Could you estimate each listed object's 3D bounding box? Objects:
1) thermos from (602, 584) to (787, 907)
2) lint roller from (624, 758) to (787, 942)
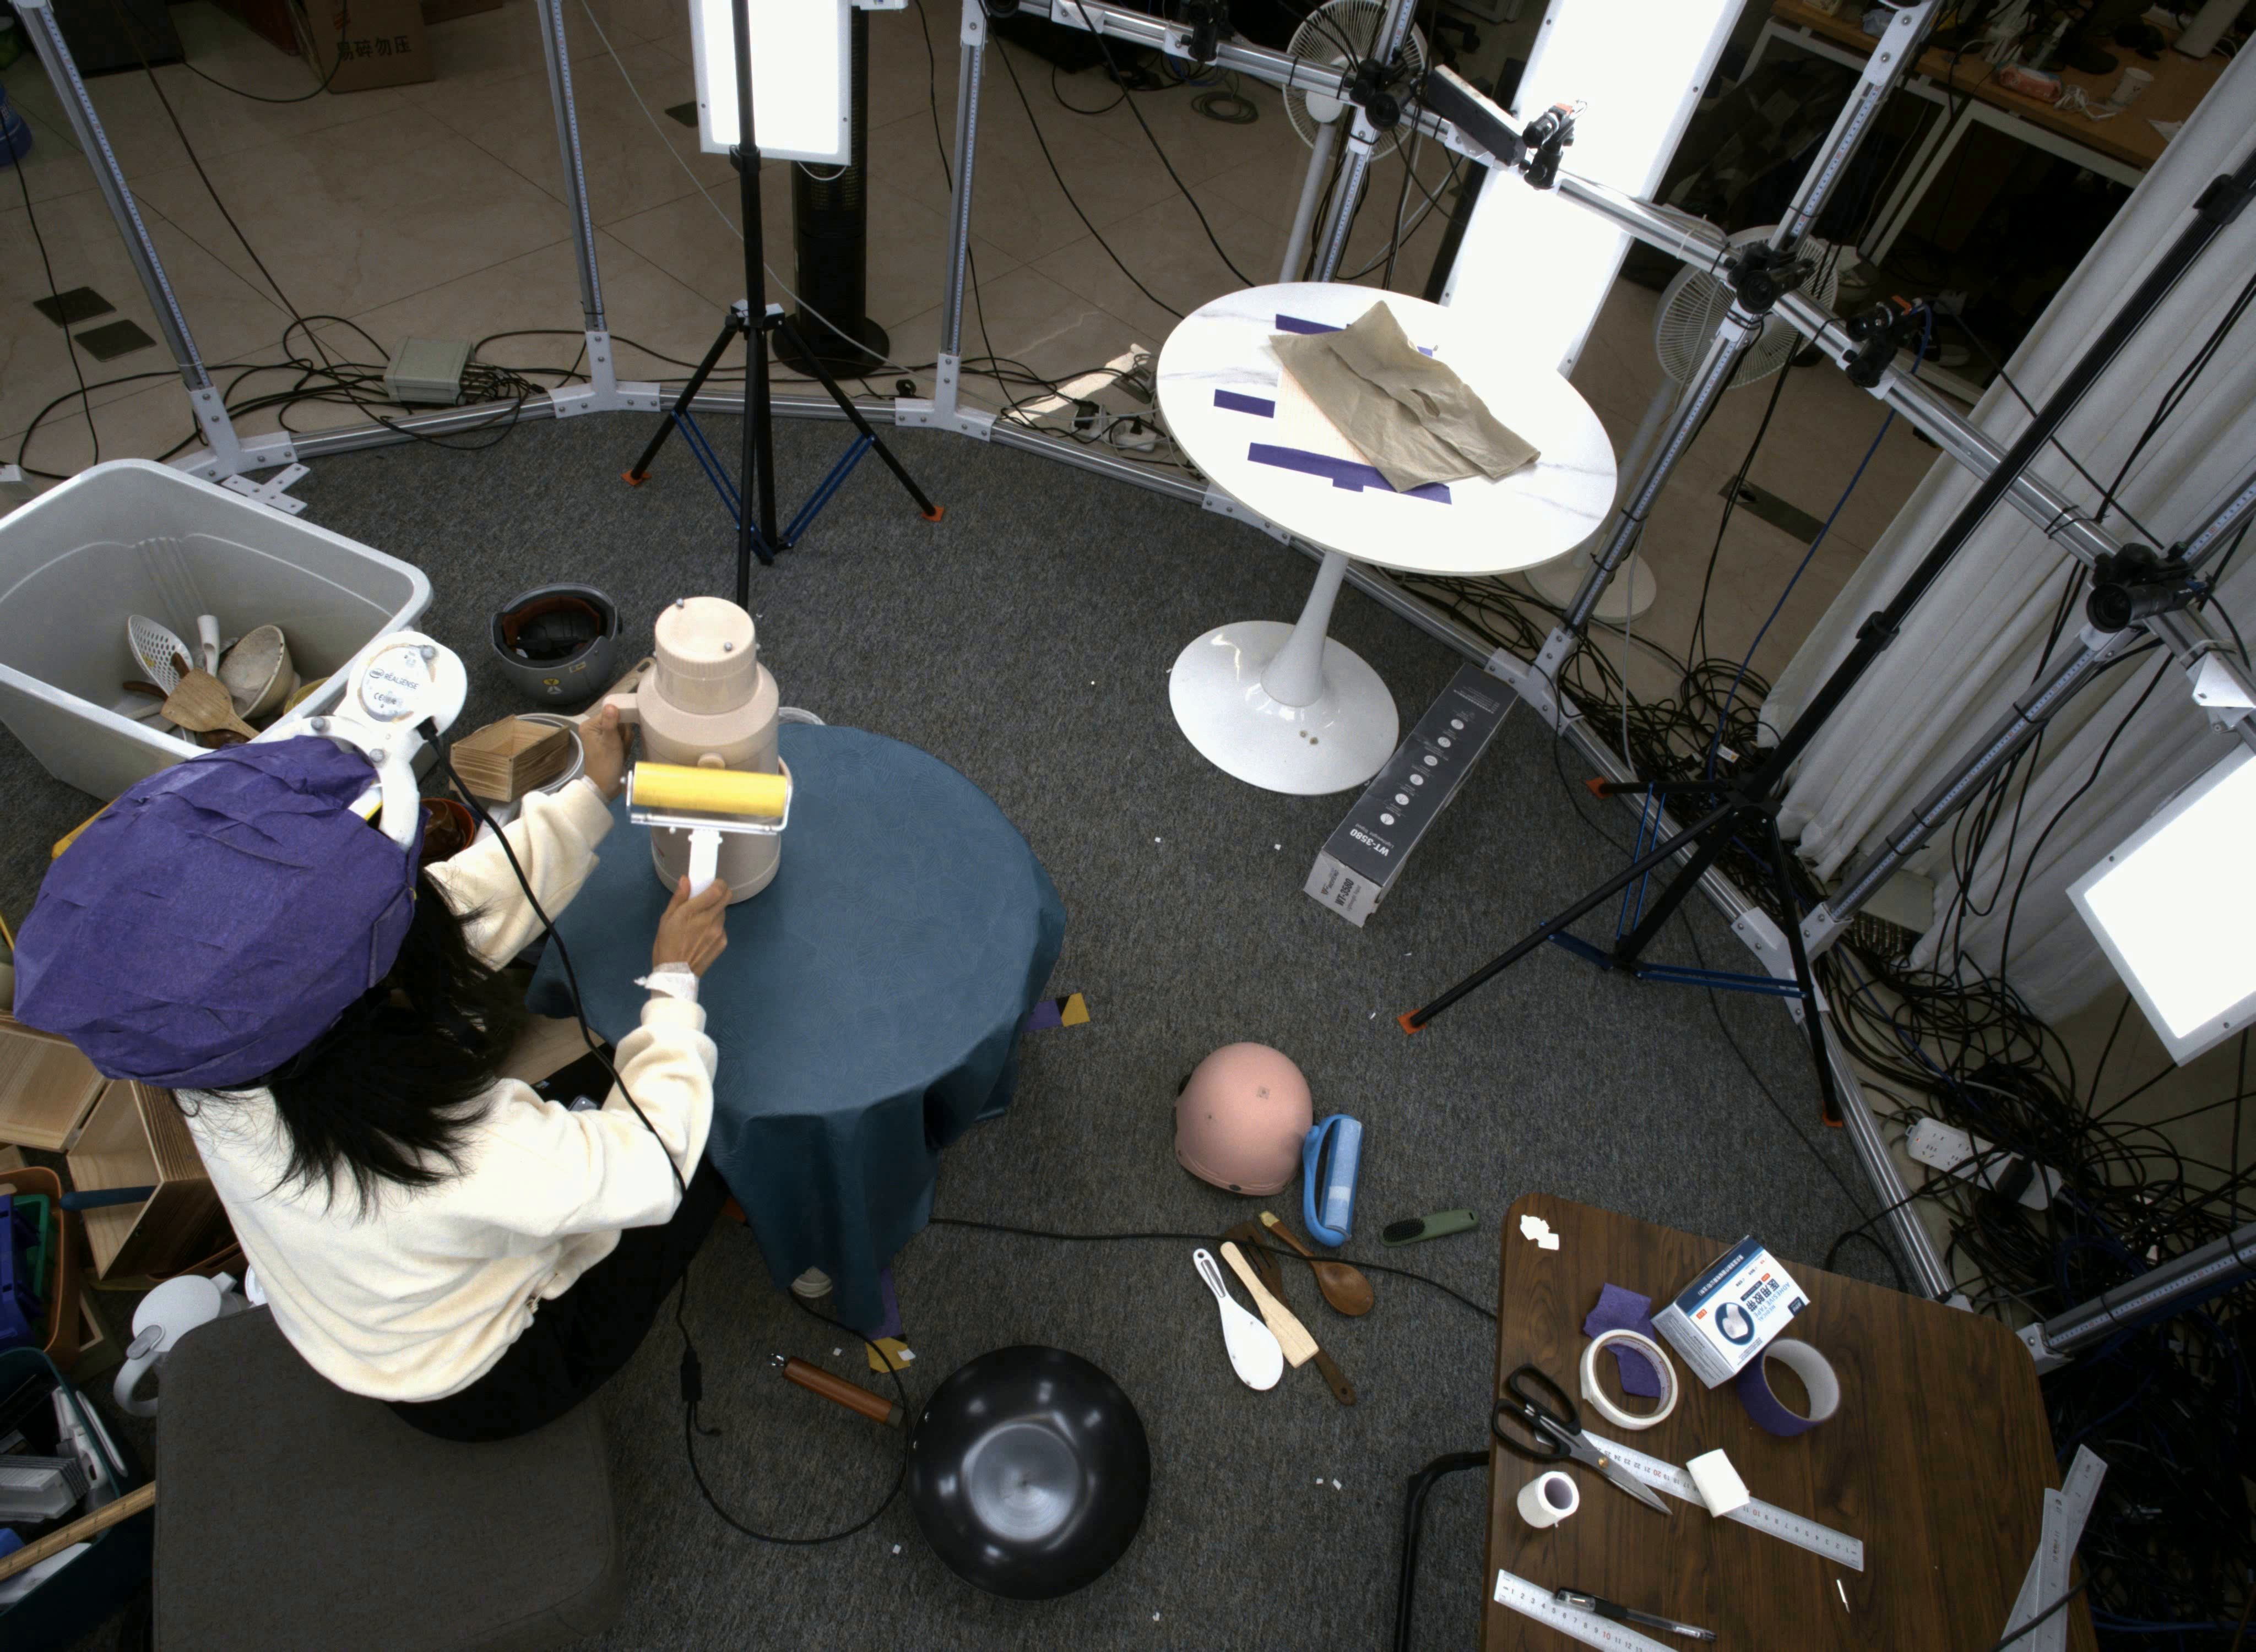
[{"bbox_3d":[-0.505,-0.091,1.504,0.208,0.415,0.171,-4,52,-17],"label":"thermos"},{"bbox_3d":[-0.462,0.027,1.401,0.176,0.050,0.194,3,87,-21],"label":"lint roller"}]
